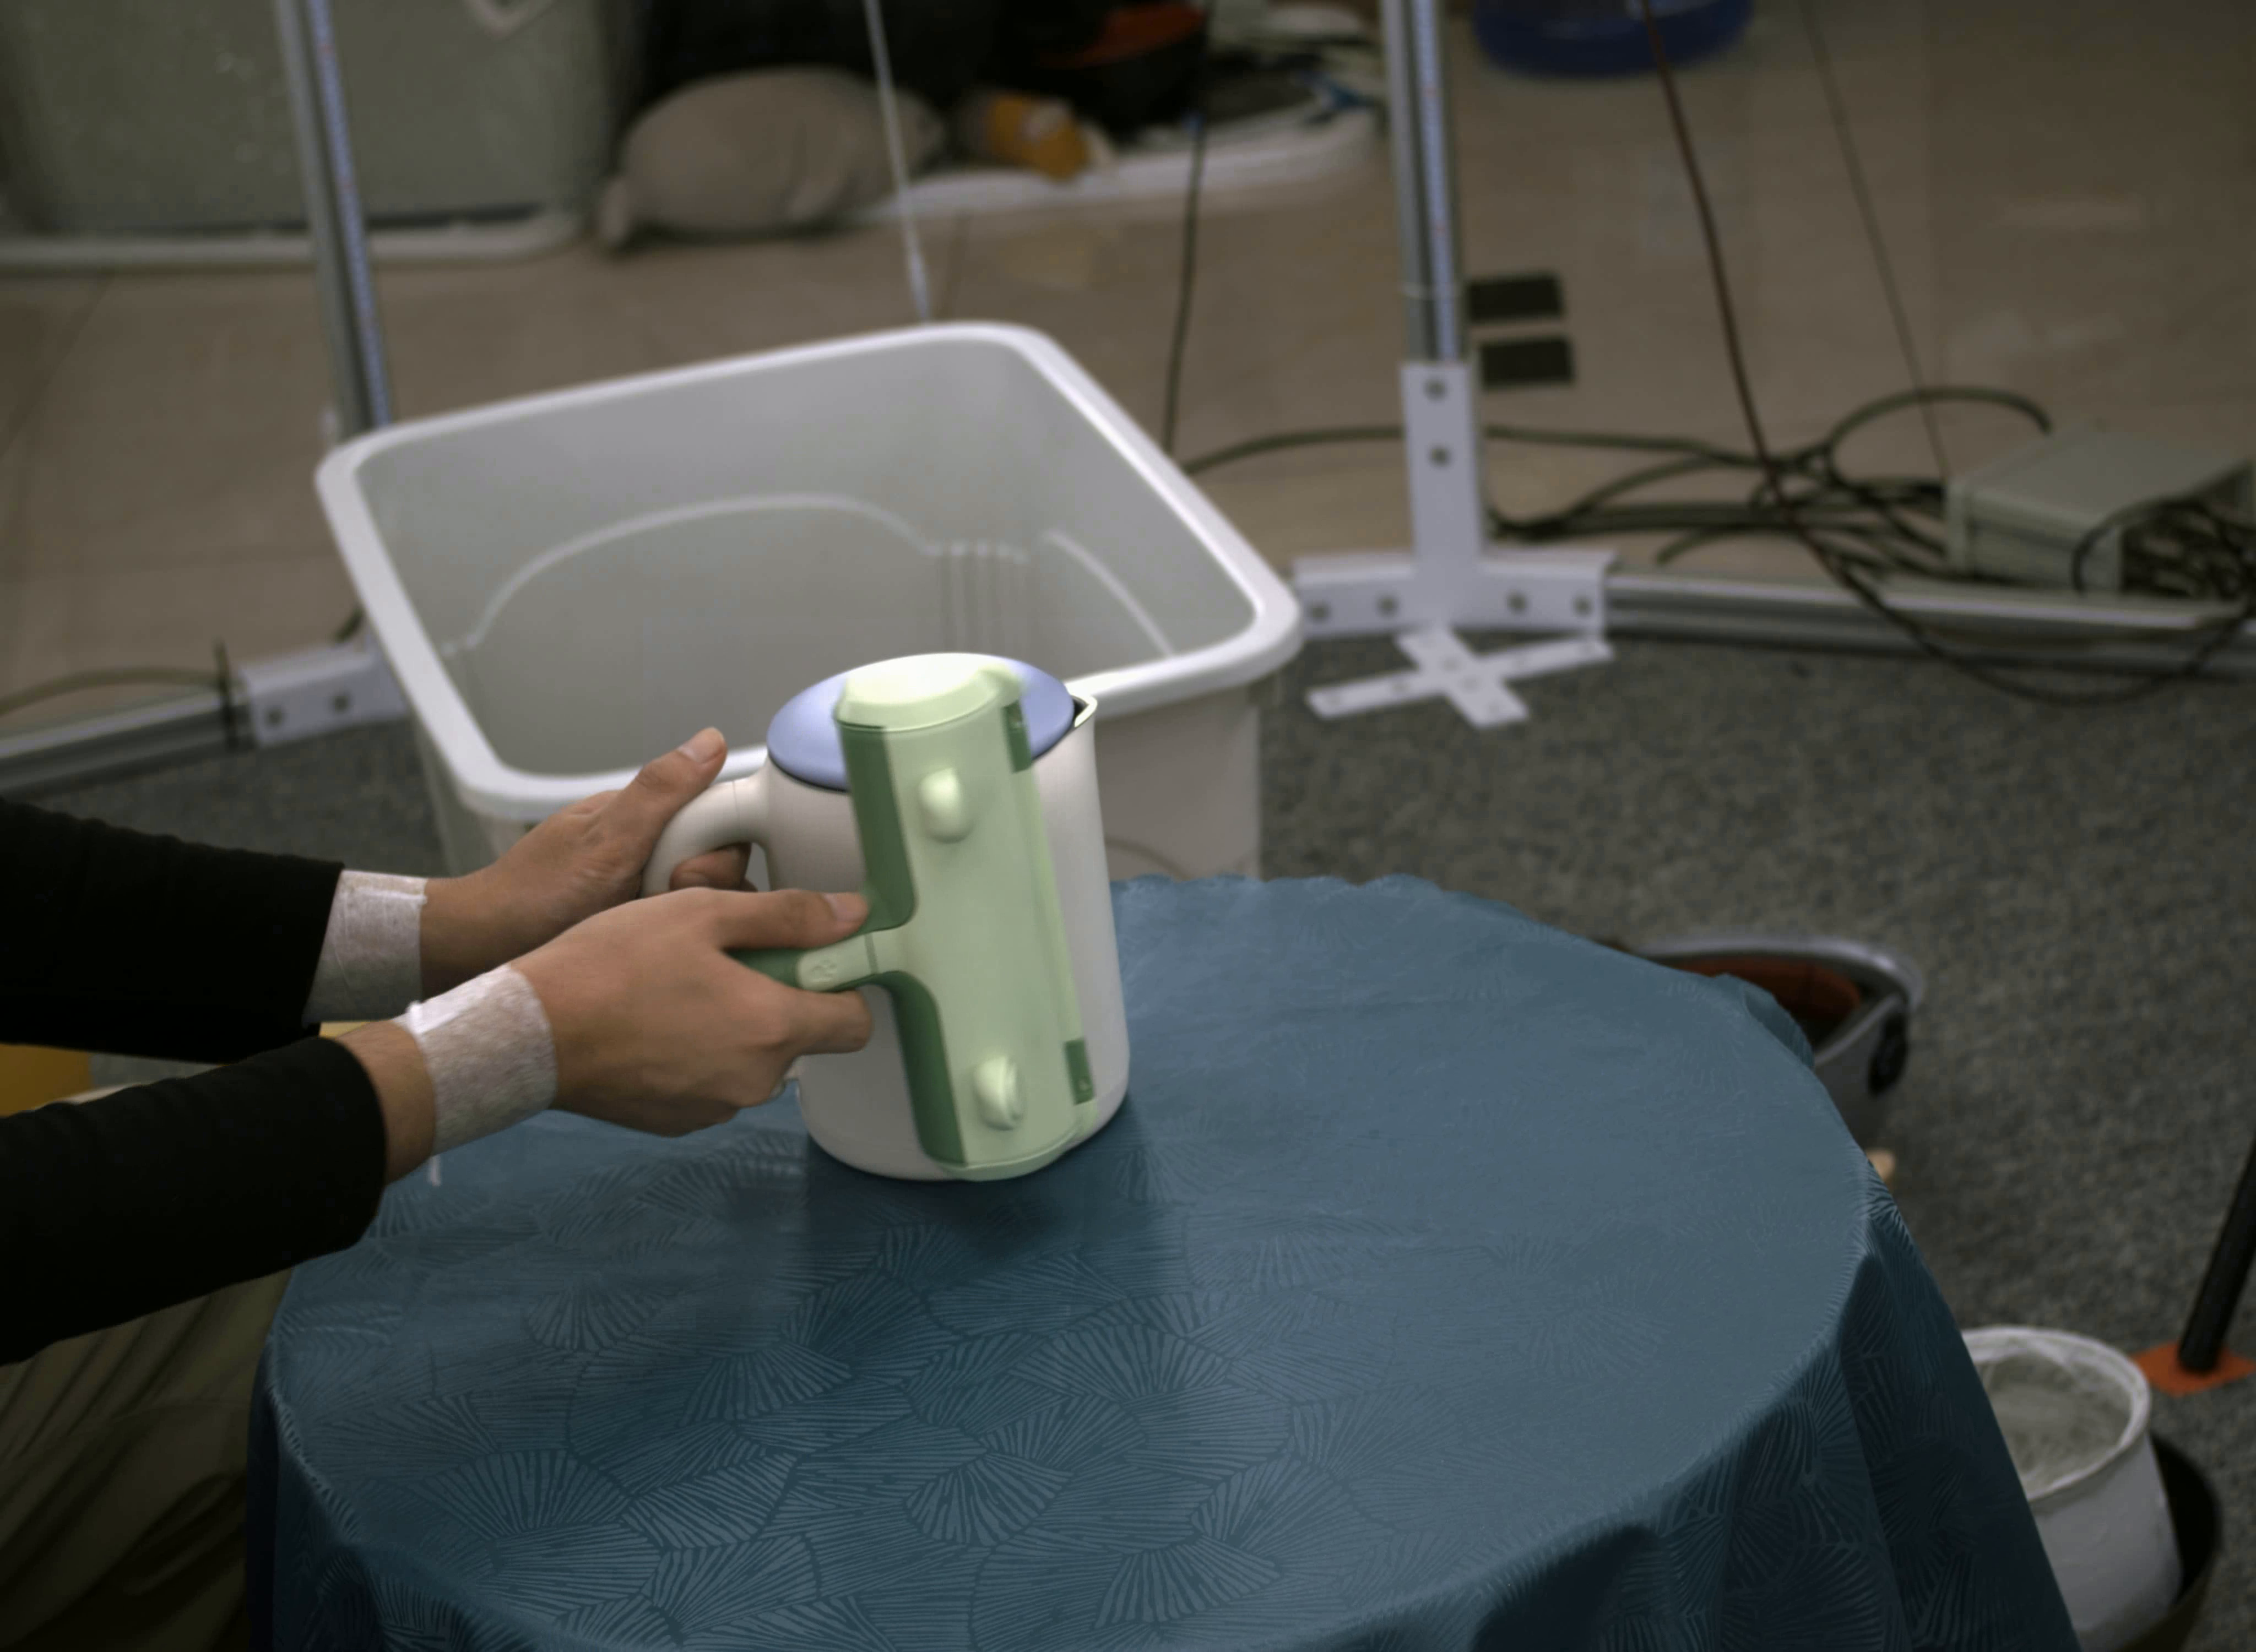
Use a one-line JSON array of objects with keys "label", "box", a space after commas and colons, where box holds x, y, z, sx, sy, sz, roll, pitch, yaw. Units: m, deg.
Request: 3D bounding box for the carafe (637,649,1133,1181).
[{"label": "carafe", "box": [-0.095, 0.038, 2.181, 0.190, 0.185, 0.130, -11, 25, -5]}]

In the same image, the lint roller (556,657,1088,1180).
[{"label": "lint roller", "box": [-0.113, 0.053, 2.065, 0.182, 0.201, 0.081, -18, 25, -18]}]
